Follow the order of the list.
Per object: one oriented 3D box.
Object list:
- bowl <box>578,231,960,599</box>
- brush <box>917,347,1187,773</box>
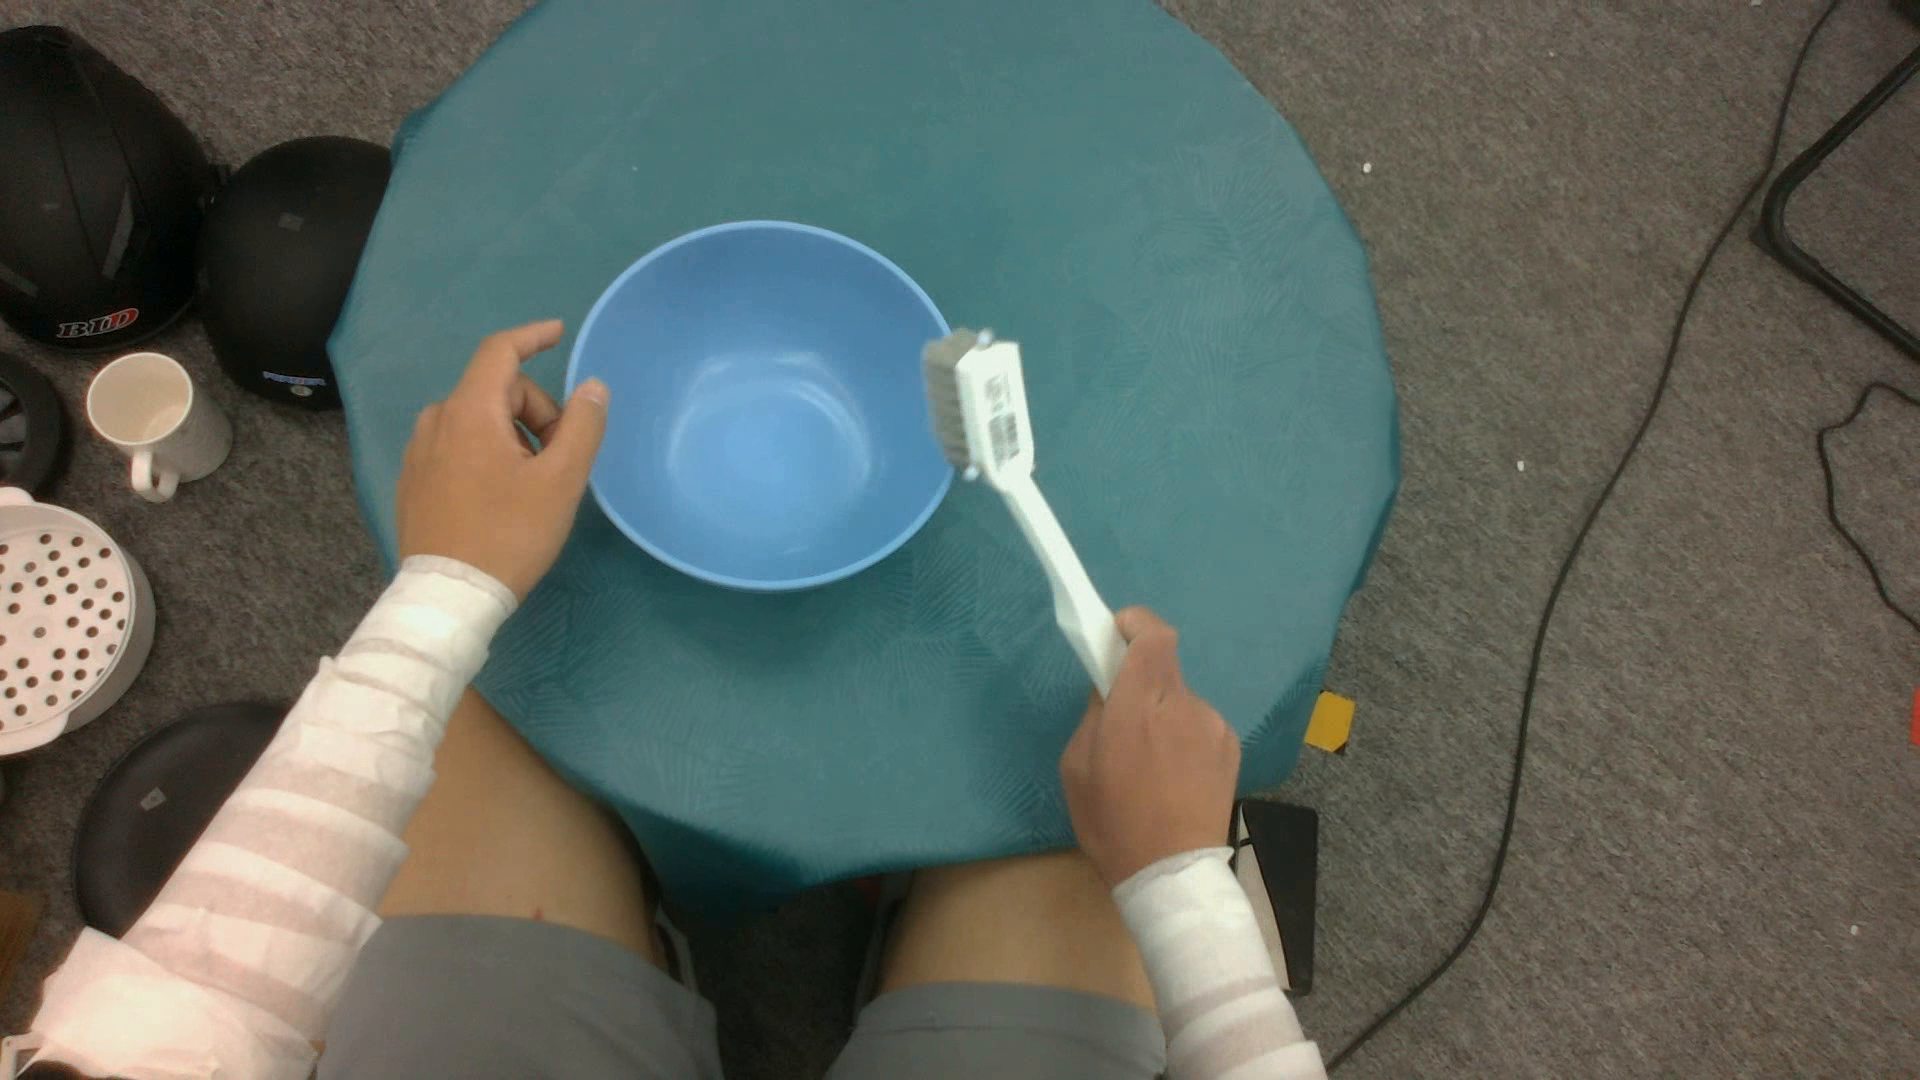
[{"bbox_3d":[-0.097,-0.054,0.734,0.196,0.095,0.197,2,73,-8],"label":"bowl"},{"bbox_3d":[0.046,0.015,0.693,0.034,0.050,0.243,-38,109,-33],"label":"brush"}]
